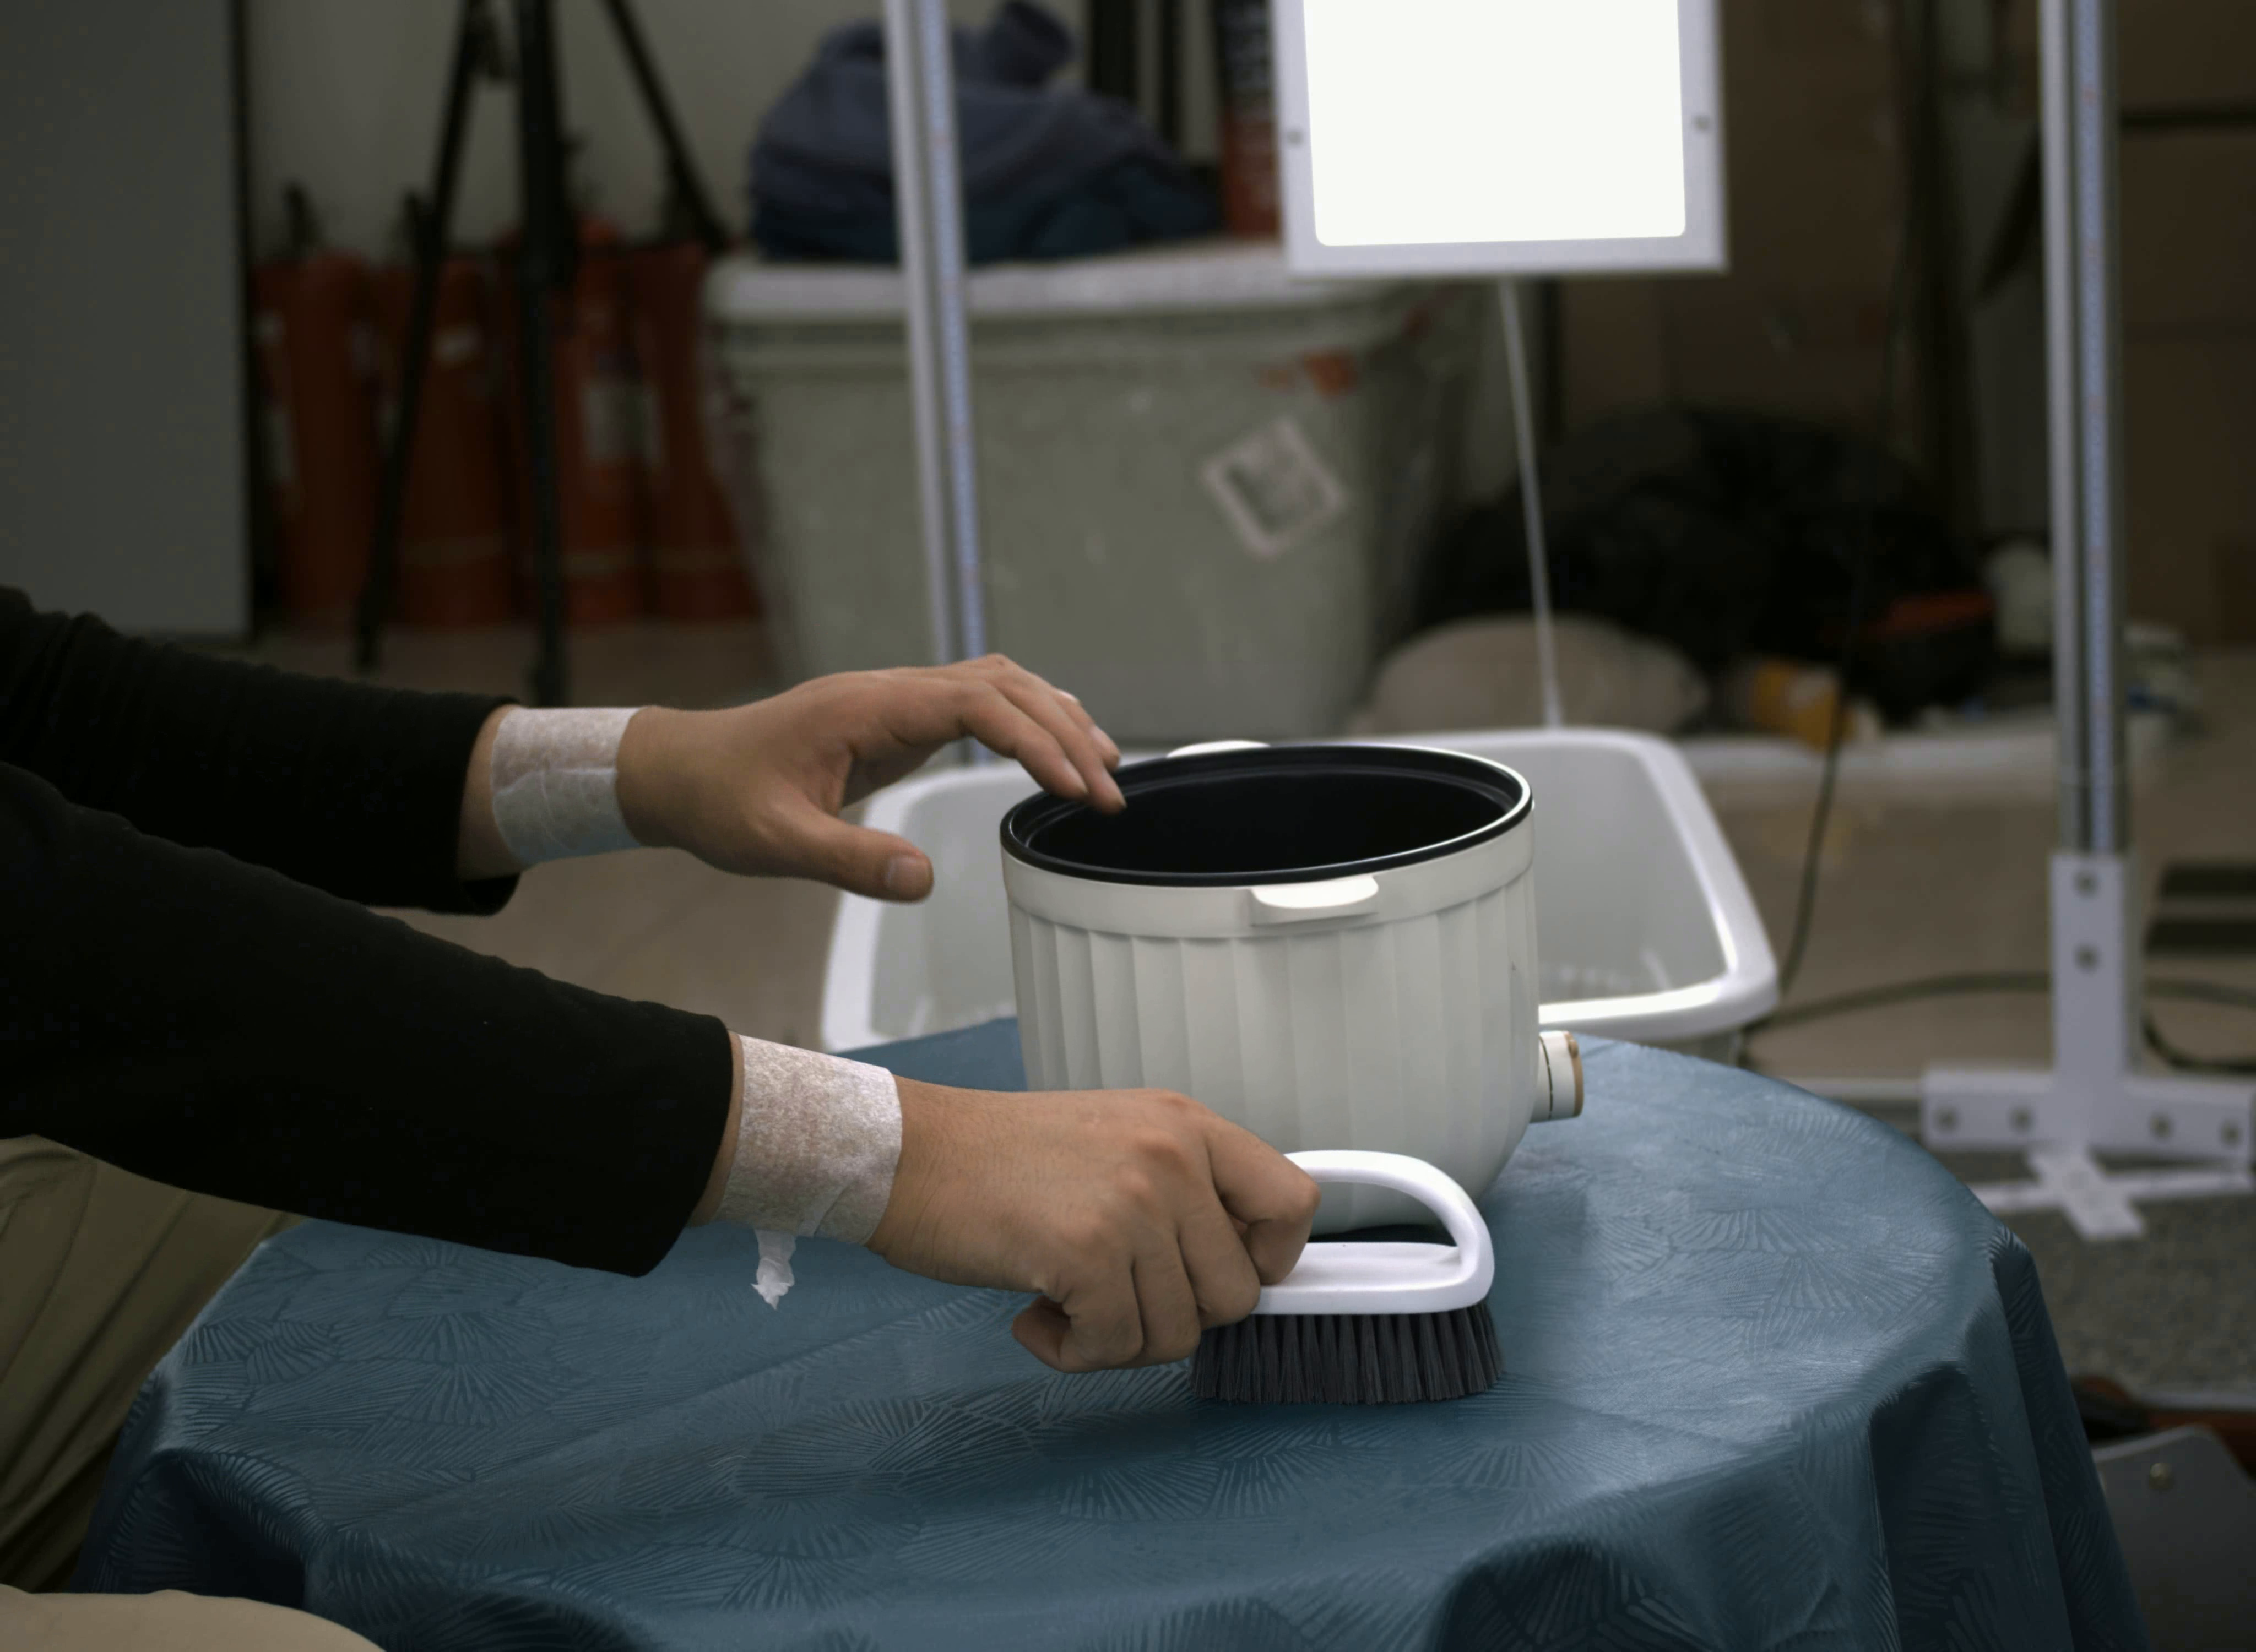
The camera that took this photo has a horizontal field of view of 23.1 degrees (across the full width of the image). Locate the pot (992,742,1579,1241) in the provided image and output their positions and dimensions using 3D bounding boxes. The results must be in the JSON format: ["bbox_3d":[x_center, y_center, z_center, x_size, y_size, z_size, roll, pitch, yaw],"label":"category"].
[{"bbox_3d":[0.055,0.057,1.872,0.189,0.143,0.241,-9,15,-6],"label":"pot"}]

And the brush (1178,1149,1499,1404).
[{"bbox_3d":[0.063,0.135,1.688,0.100,0.073,0.049,-1,14,15],"label":"brush"}]
